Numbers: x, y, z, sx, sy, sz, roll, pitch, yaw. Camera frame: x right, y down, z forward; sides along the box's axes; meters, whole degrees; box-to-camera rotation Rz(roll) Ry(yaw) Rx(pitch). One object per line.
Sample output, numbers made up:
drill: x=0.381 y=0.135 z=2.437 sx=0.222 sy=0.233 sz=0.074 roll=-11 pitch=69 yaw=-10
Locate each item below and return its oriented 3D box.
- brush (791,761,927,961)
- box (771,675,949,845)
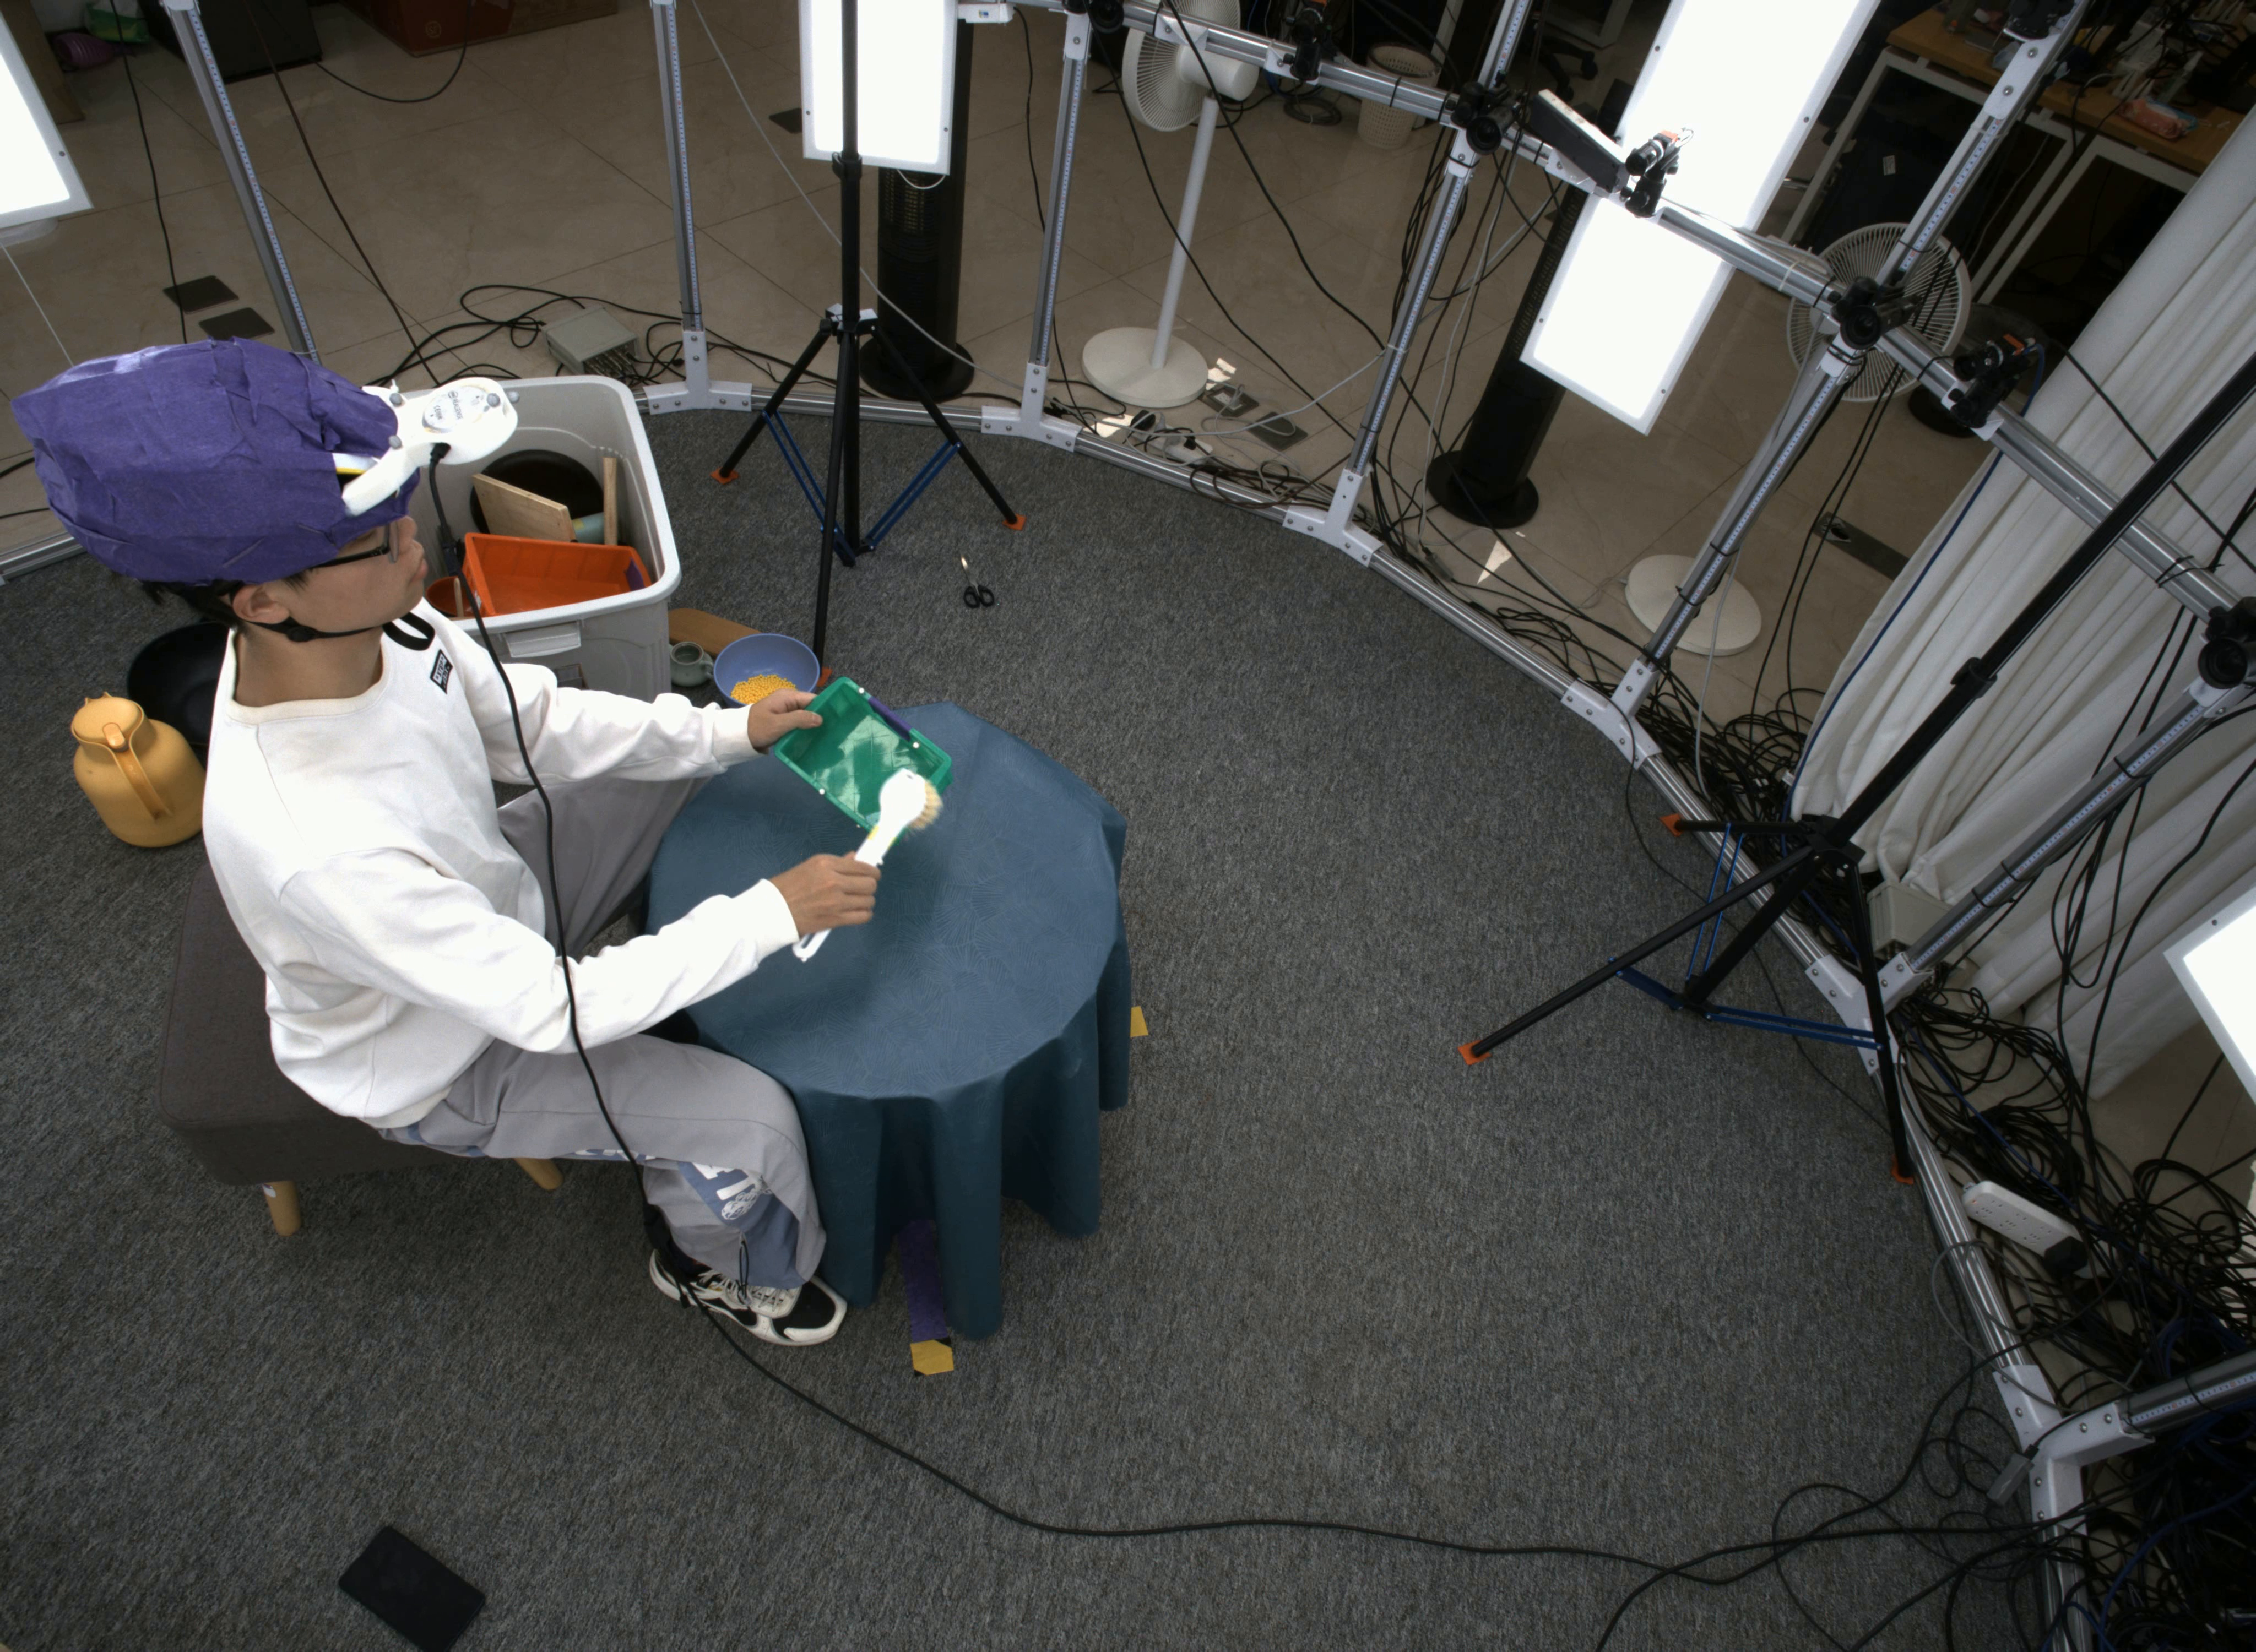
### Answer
brush: x=-0.324 y=0.044 z=1.554 sx=0.066 sy=0.058 sz=0.267 roll=19 pitch=75 yaw=21
box: x=-0.337 y=-0.081 z=1.658 sx=0.205 sy=0.067 sz=0.139 roll=36 pitch=77 yaw=17
